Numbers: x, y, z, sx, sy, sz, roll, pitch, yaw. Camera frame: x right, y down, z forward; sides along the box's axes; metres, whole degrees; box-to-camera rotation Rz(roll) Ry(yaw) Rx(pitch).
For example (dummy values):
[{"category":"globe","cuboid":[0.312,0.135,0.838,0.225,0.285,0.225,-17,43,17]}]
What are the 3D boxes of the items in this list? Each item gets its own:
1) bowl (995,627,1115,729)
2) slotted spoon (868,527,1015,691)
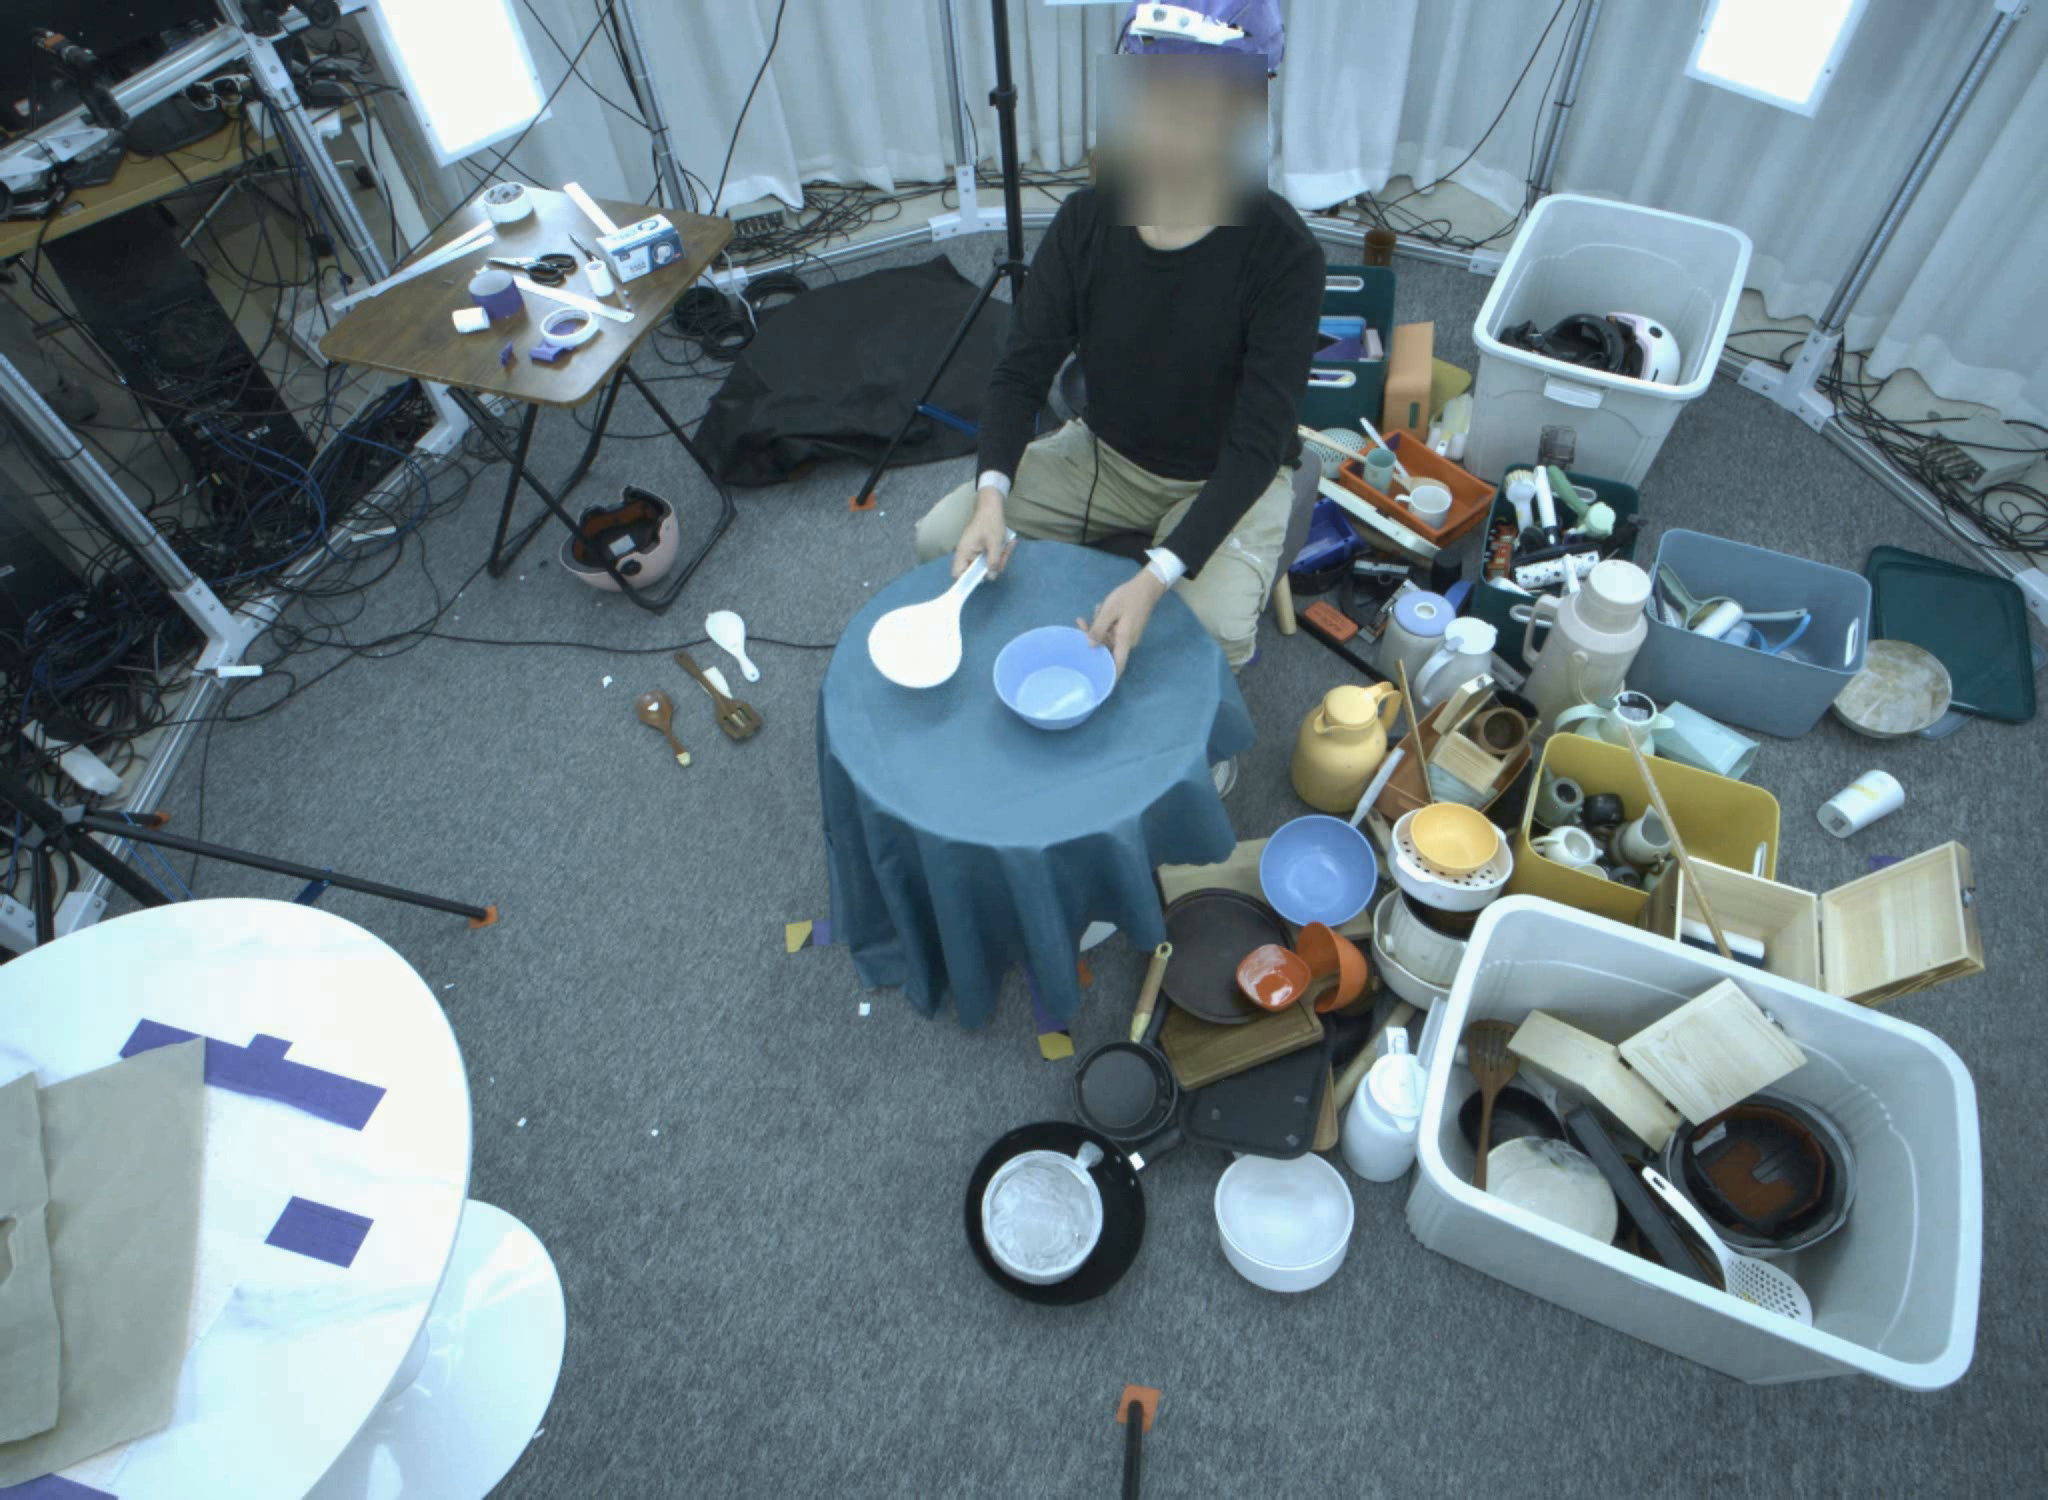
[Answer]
[{"category":"bowl","cuboid":[0.047,-0.096,1.811,0.176,0.071,0.174,0,54,2]},{"category":"slotted spoon","cuboid":[-0.112,-0.223,1.871,0.135,0.046,0.350,31,65,4]}]
